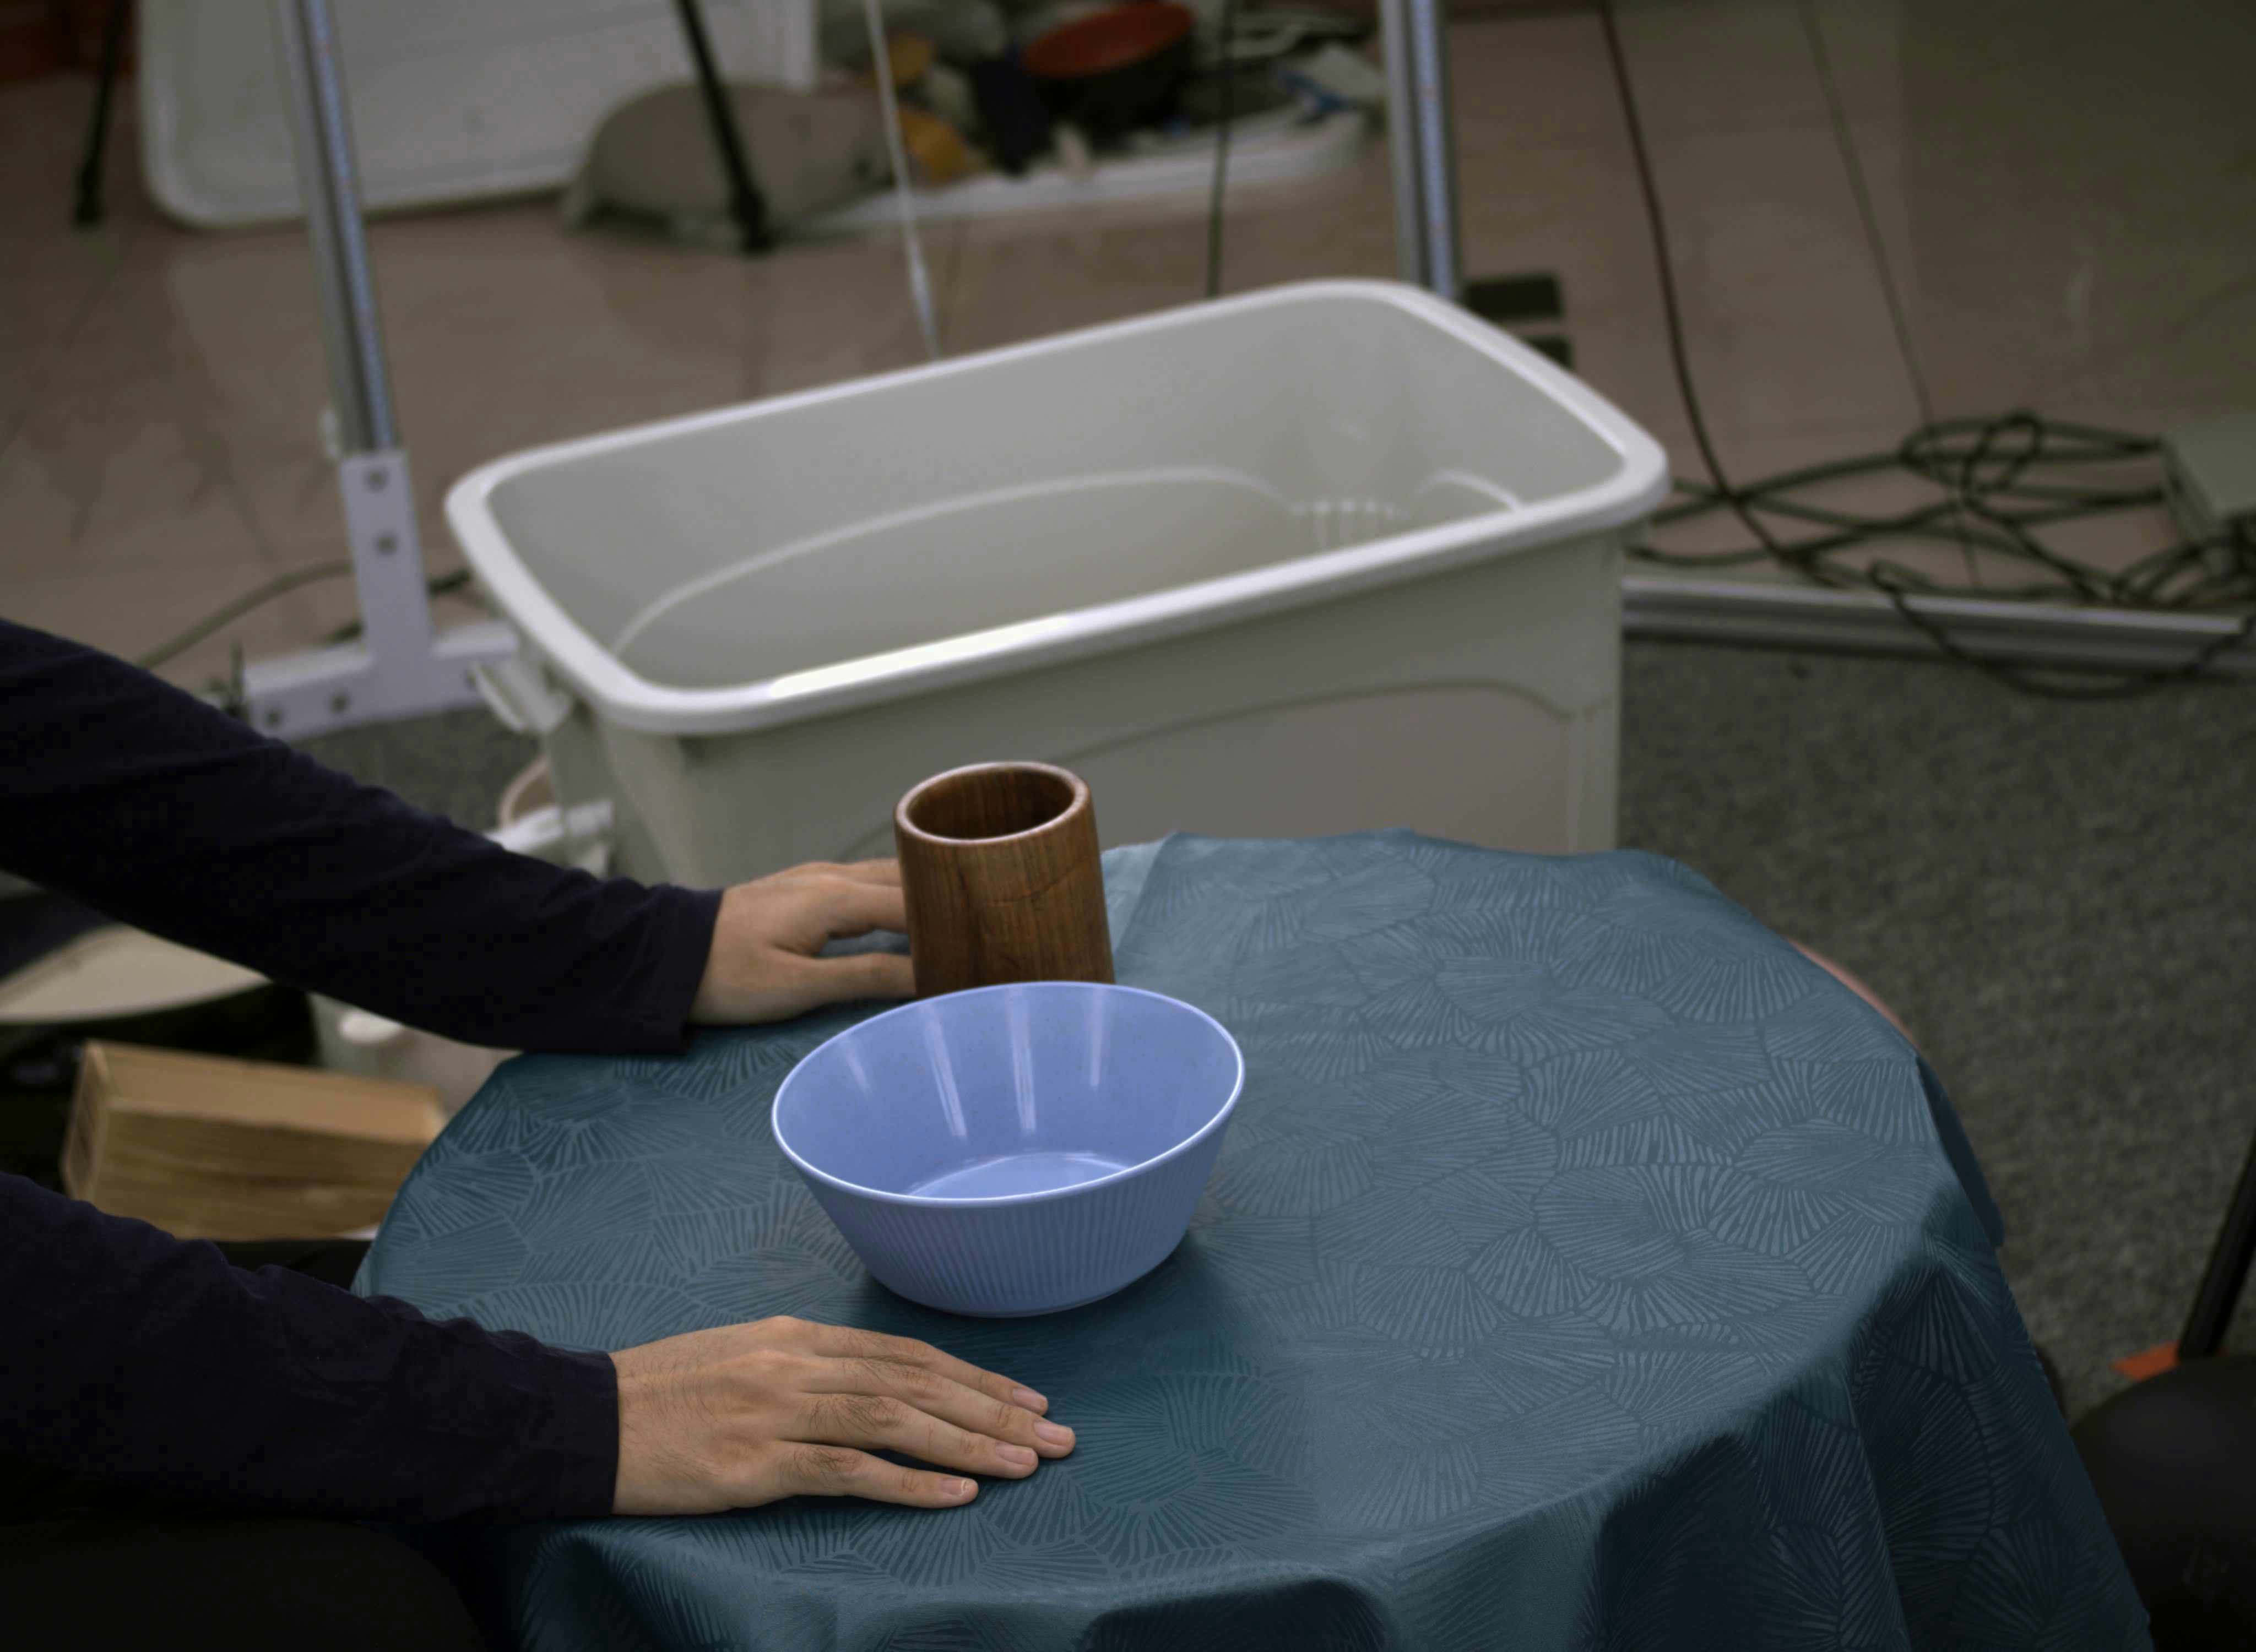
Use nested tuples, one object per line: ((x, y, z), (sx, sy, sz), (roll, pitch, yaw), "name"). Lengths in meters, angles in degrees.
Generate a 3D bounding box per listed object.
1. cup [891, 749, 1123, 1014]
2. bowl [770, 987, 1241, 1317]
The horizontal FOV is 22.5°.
((-0.046, 0.039, 2.235), (0.087, 0.120, 0.086), (-7, 25, 3), "cup")
((-0.042, 0.126, 2.101), (0.176, 0.071, 0.173), (-6, 24, 3), "bowl")
